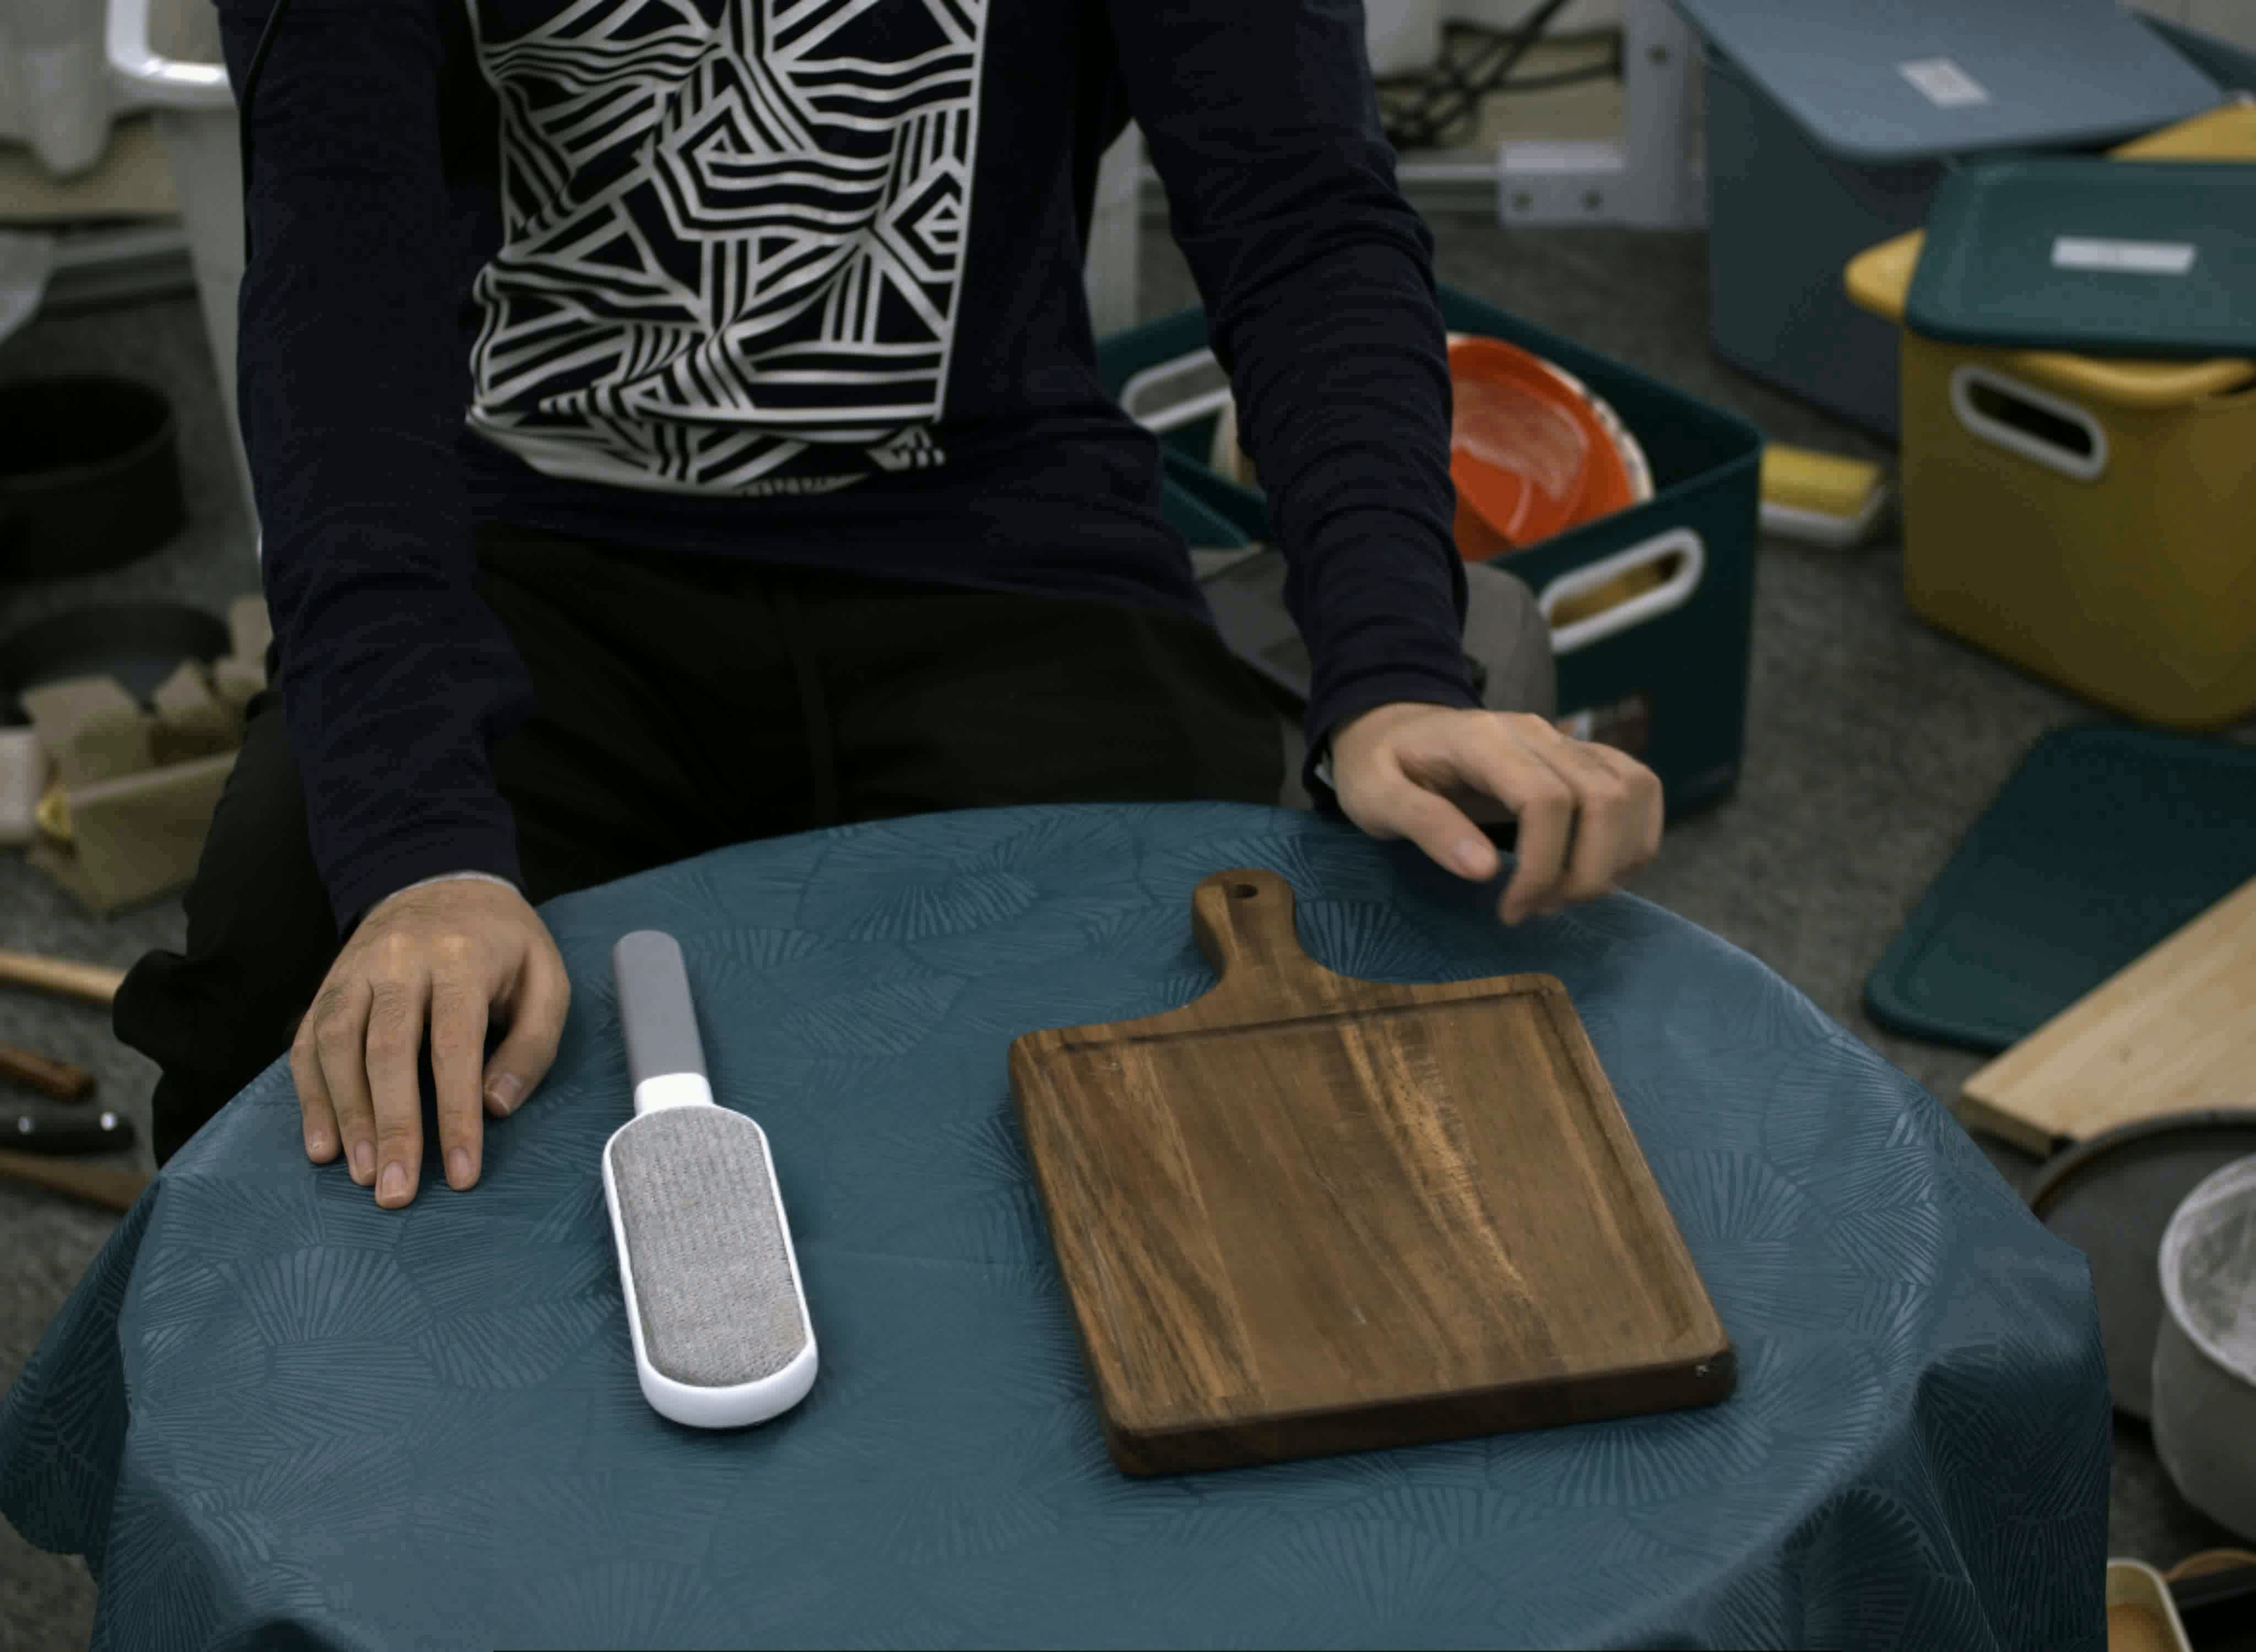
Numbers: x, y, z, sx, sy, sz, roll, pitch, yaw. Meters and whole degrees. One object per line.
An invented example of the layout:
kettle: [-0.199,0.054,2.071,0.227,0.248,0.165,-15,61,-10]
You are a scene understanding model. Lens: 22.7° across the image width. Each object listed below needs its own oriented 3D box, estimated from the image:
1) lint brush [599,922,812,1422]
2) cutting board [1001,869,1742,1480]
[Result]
lint brush: [-0.146,0.110,1.869,0.060,0.021,0.313,-11,28,-5]
cutting board: [0.065,0.102,1.871,0.200,0.023,0.356,-7,27,-7]
